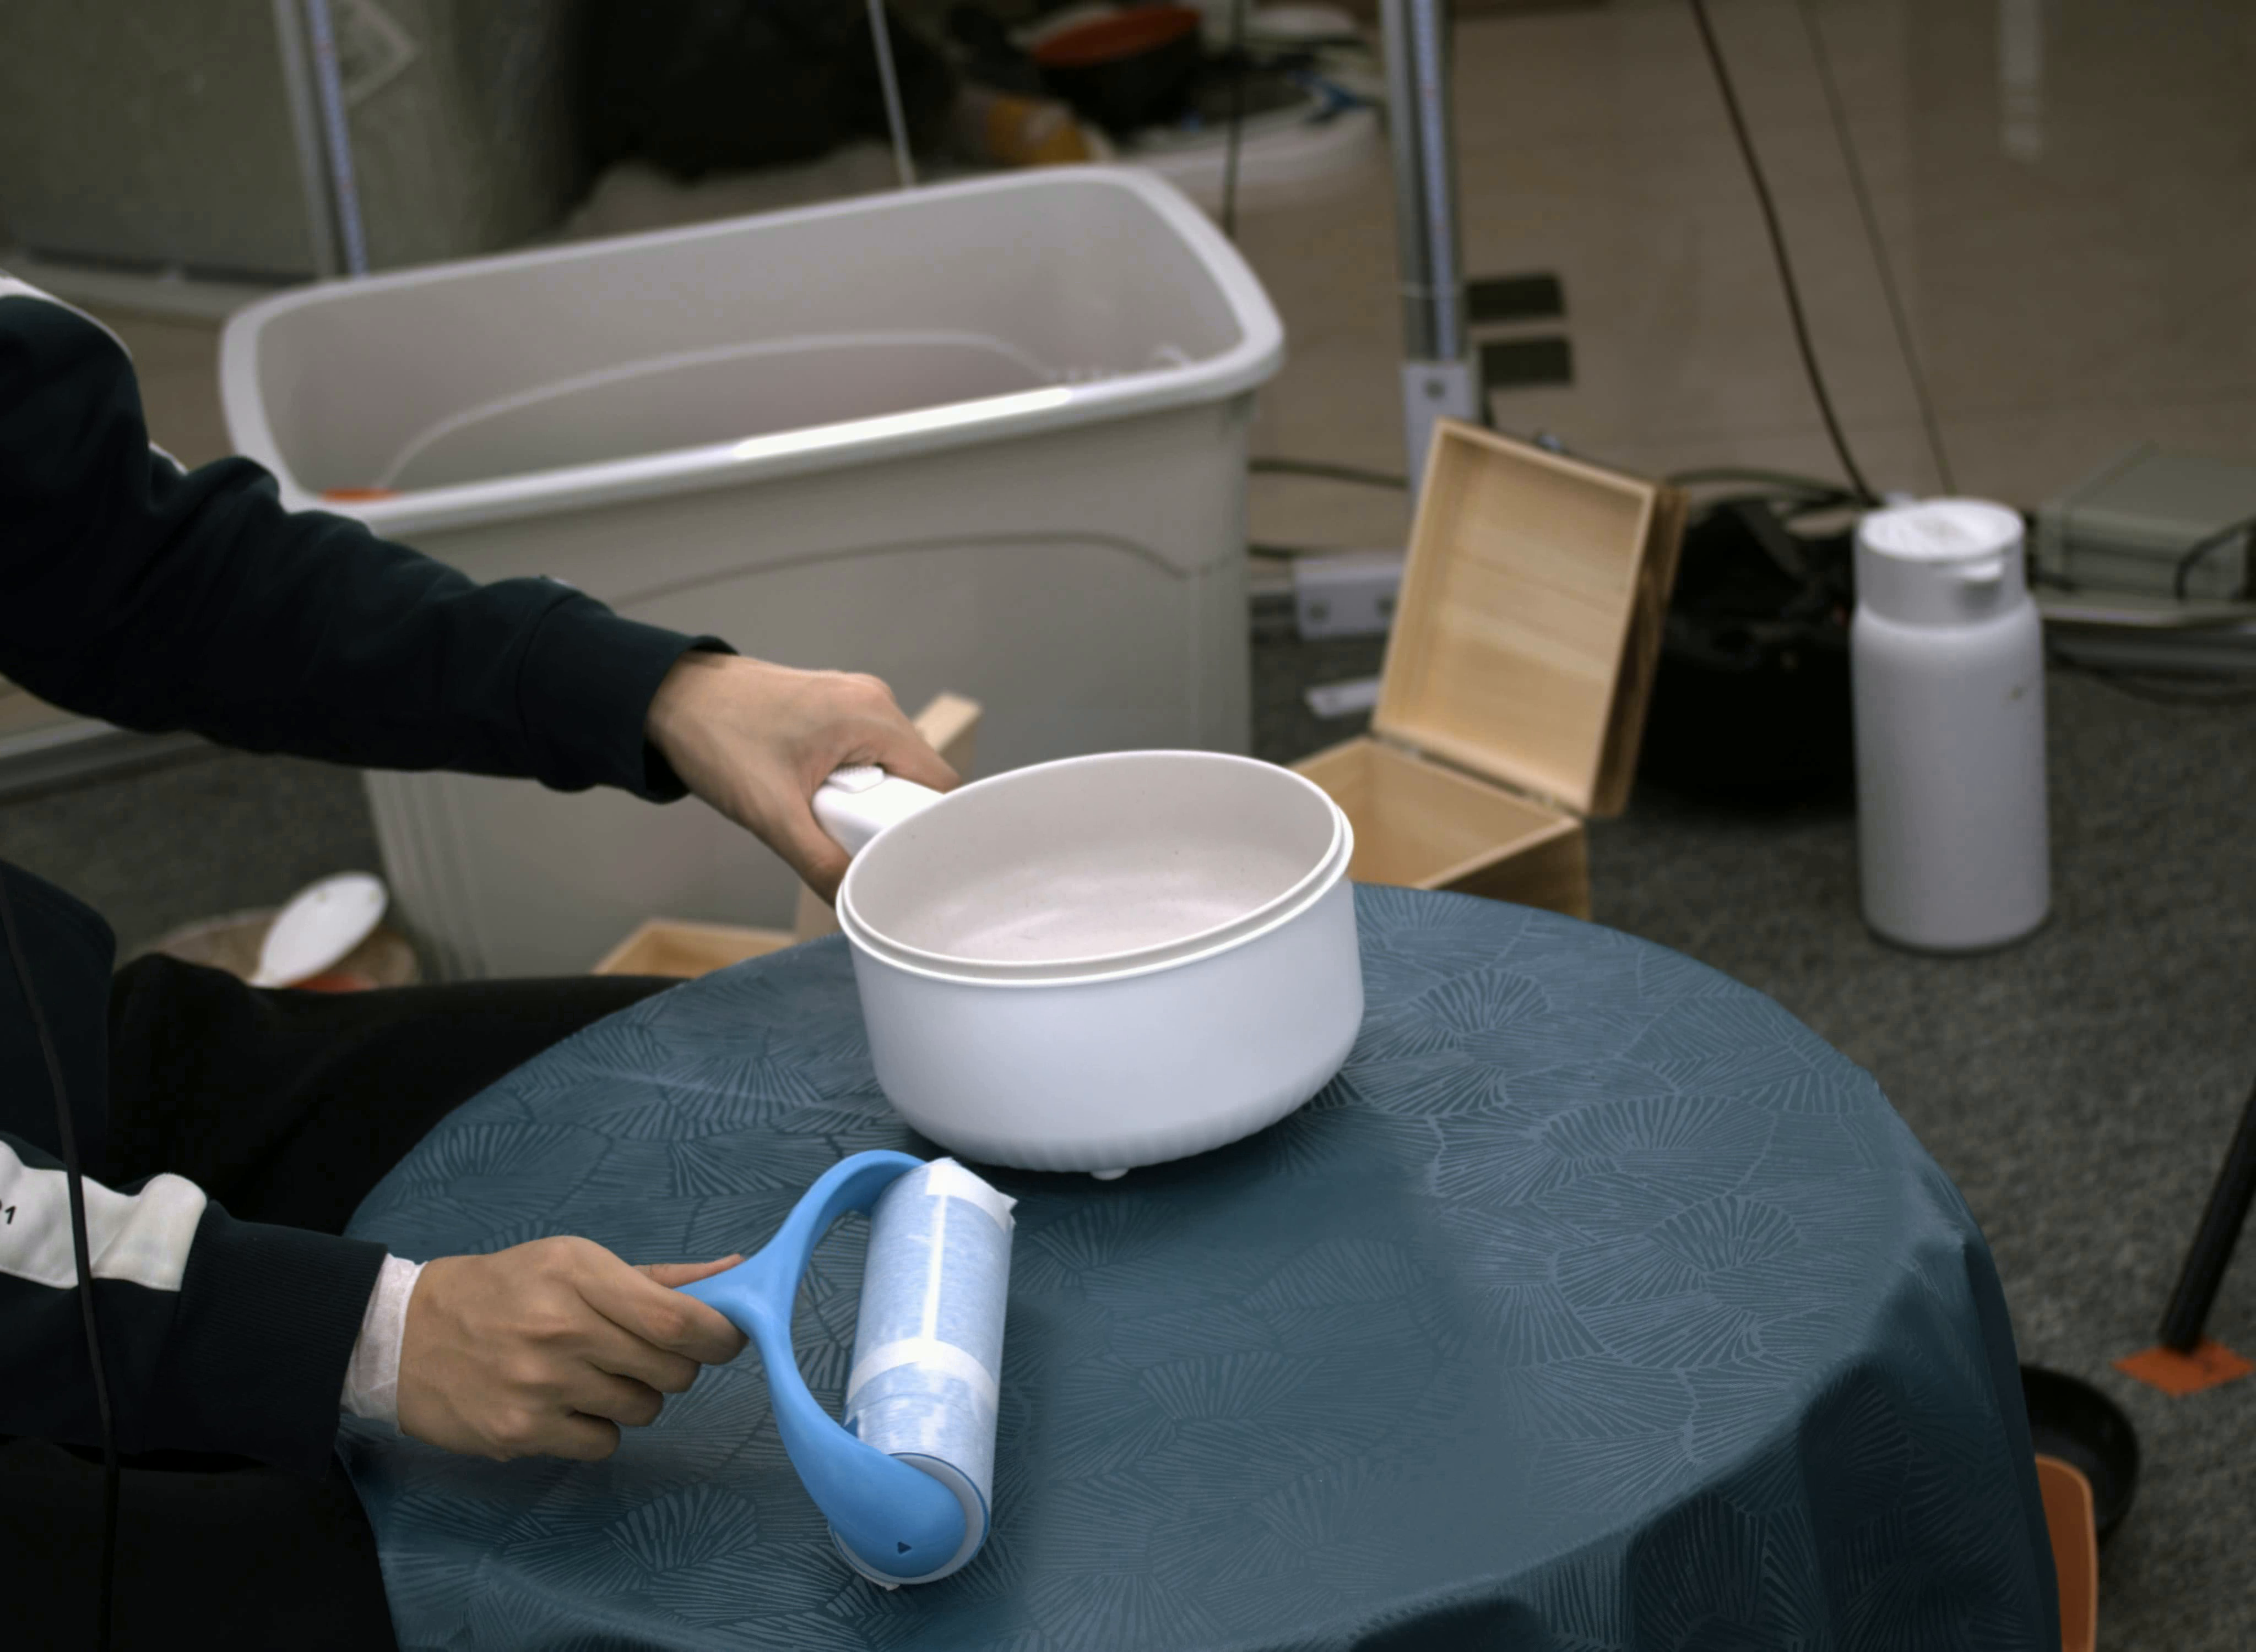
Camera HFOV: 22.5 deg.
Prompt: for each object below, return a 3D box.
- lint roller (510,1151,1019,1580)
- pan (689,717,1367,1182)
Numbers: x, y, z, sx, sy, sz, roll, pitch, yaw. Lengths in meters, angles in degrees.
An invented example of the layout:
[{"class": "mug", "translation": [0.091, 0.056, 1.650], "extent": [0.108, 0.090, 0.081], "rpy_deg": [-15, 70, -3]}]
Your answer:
[{"class": "lint roller", "translation": [-0.127, 0.188, 1.980], "extent": [0.180, 0.069, 0.225], "rpy_deg": [-1, 28, -1]}, {"class": "pan", "translation": [-0.055, 0.040, 2.250], "extent": [0.199, 0.103, 0.352], "rpy_deg": [-25, 28, -33]}]
